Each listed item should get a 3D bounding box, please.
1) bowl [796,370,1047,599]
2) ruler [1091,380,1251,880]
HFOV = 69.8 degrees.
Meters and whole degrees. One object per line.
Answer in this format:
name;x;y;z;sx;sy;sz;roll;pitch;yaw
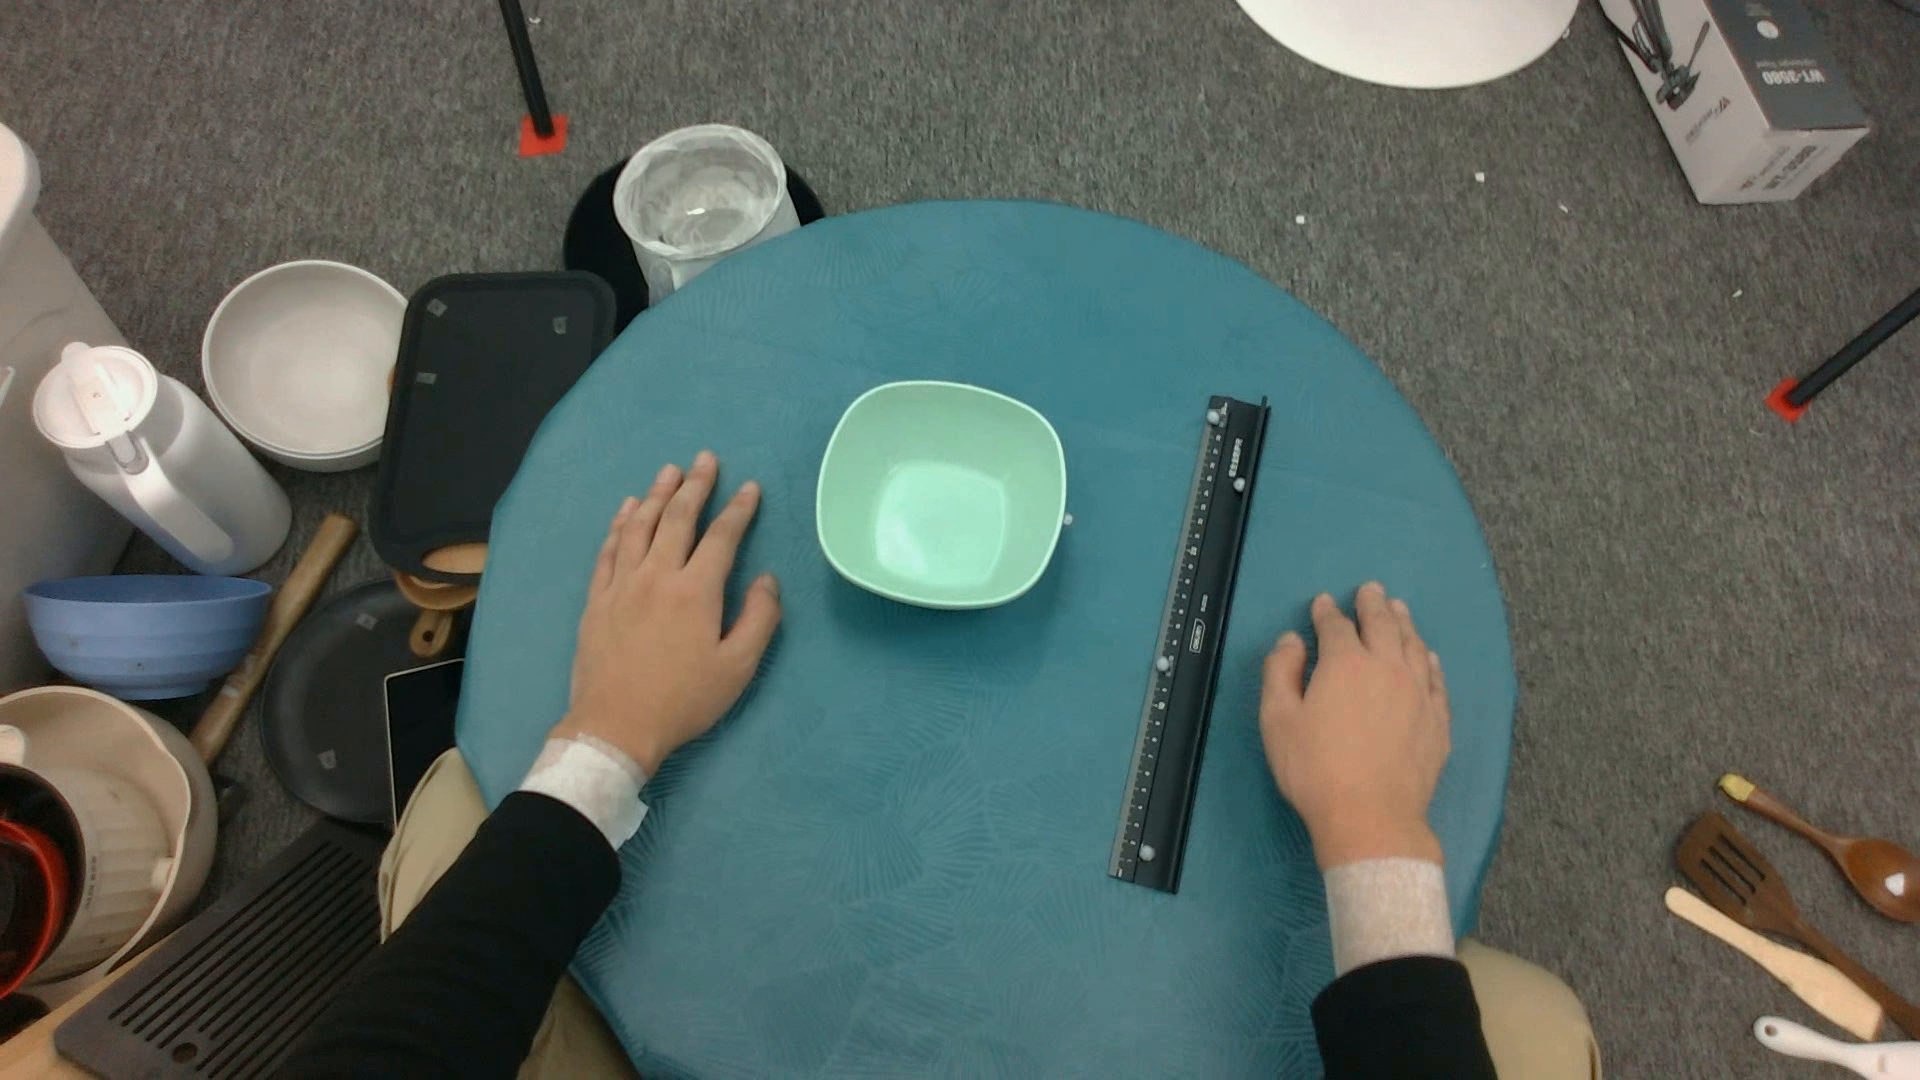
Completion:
bowl;-0.022;-0.023;0.791;0.151;0.058;0.152;2;65;-4
ruler;0.127;0.038;0.796;0.039;0.017;0.314;13;66;5
